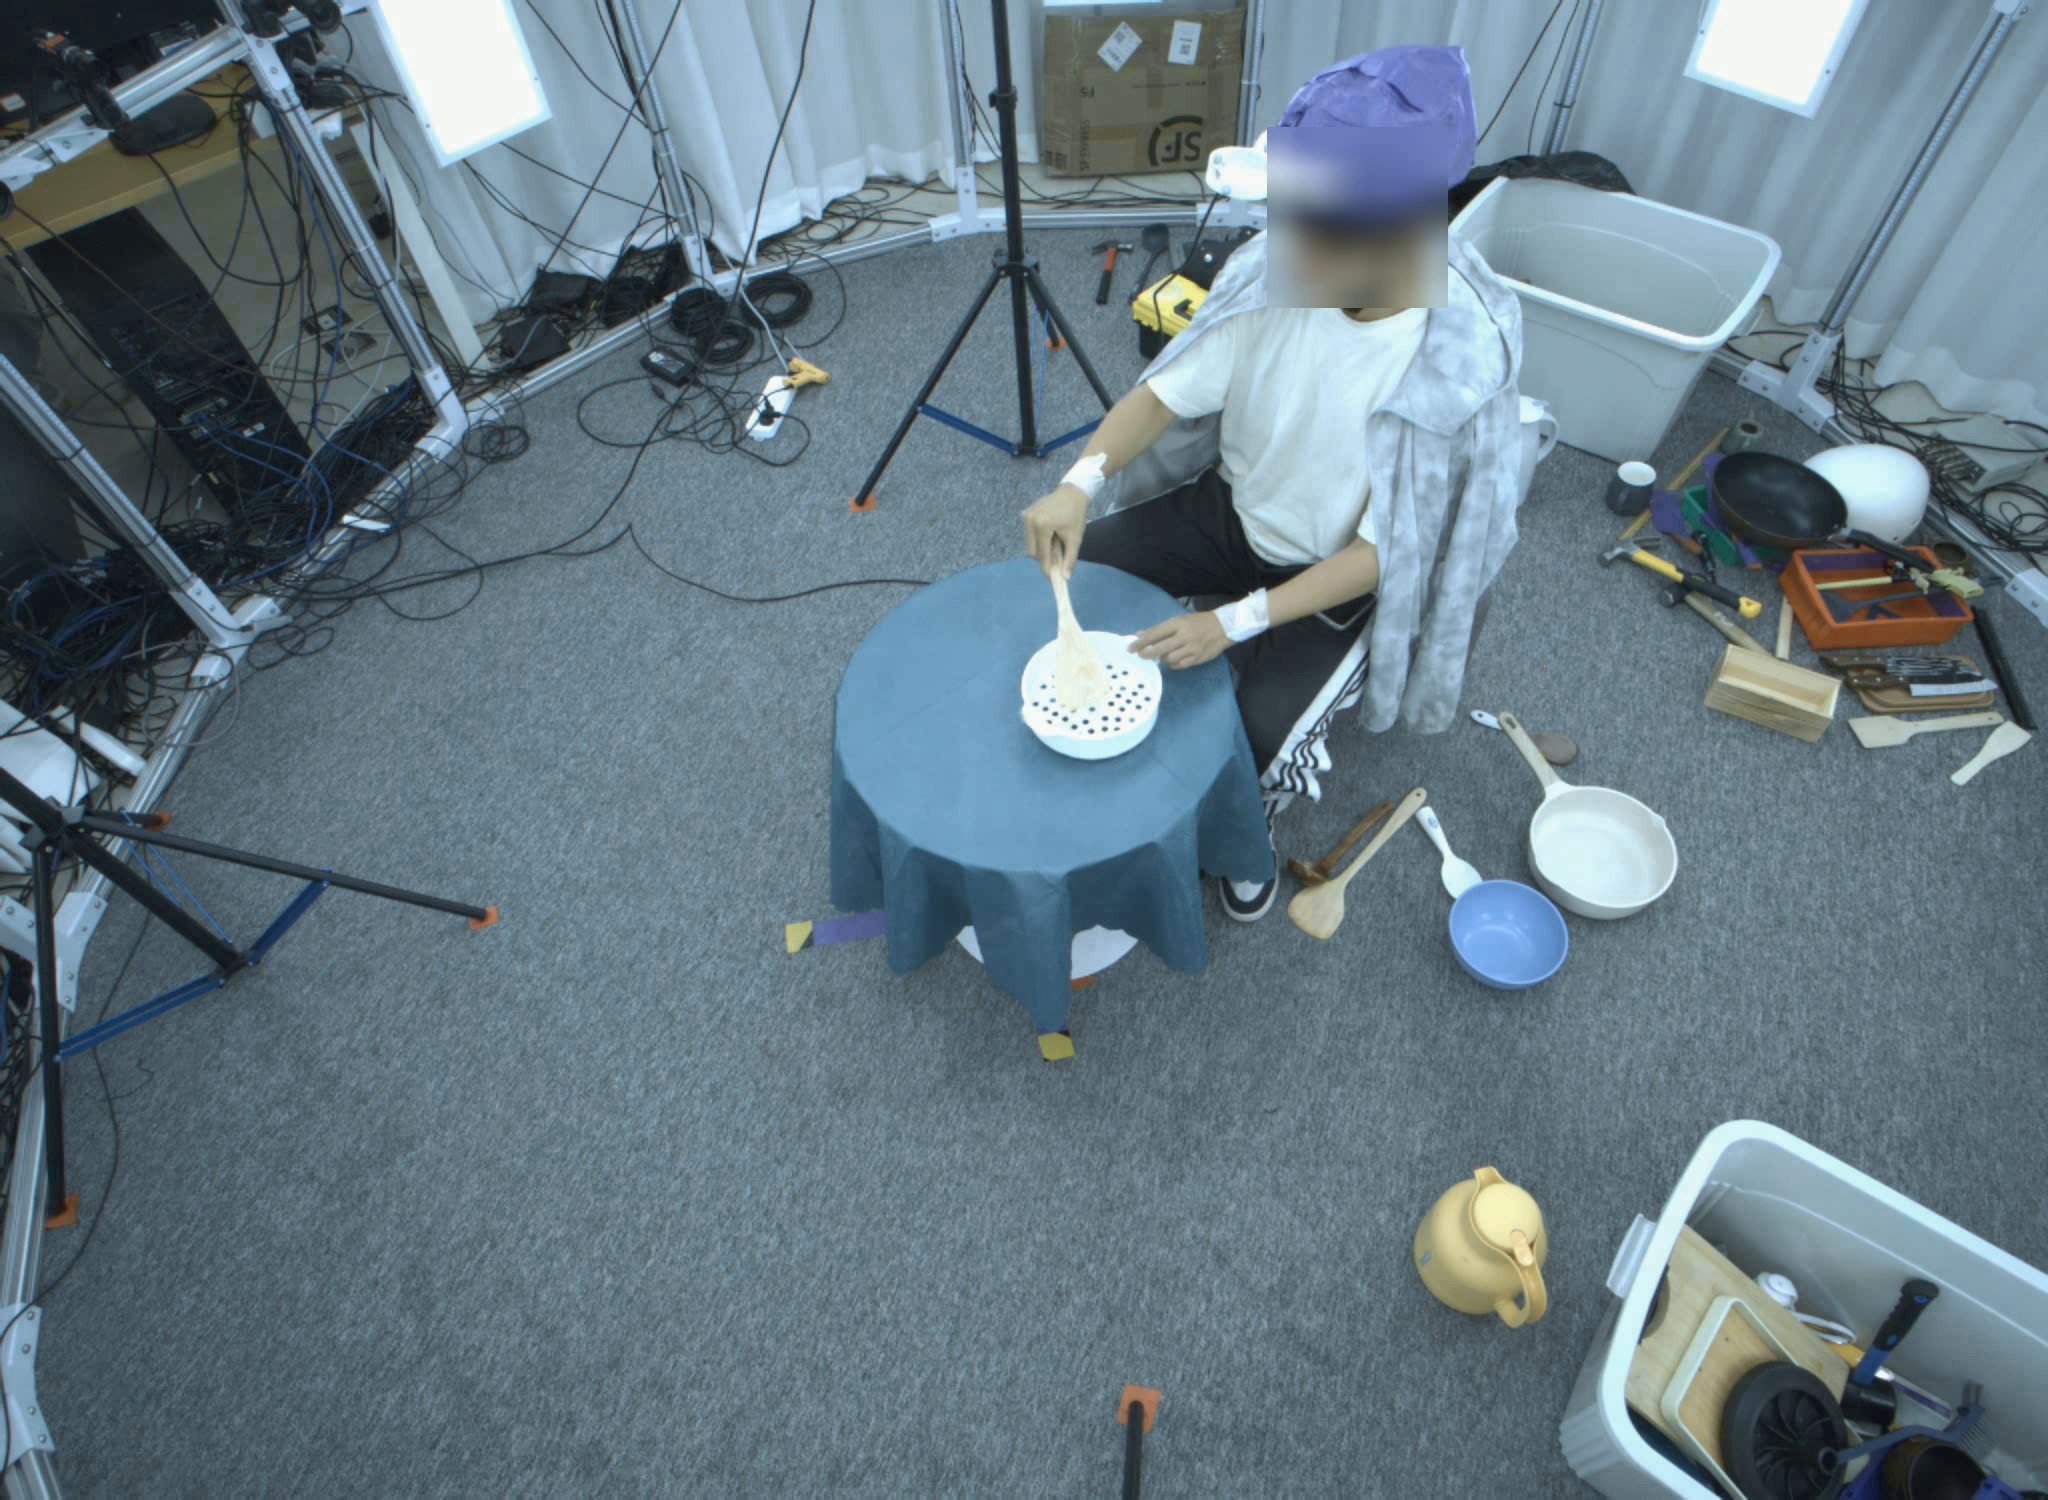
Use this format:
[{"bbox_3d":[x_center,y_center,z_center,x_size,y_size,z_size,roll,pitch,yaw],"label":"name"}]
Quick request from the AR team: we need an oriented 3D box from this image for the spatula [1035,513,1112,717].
[{"bbox_3d":[0.058,-0.202,1.758,0.079,0.017,0.324,-14,71,7],"label":"spatula"}]

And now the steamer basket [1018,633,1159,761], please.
[{"bbox_3d":[0.094,-0.076,1.800,0.232,0.070,0.198,-34,62,-21],"label":"steamer basket"}]
